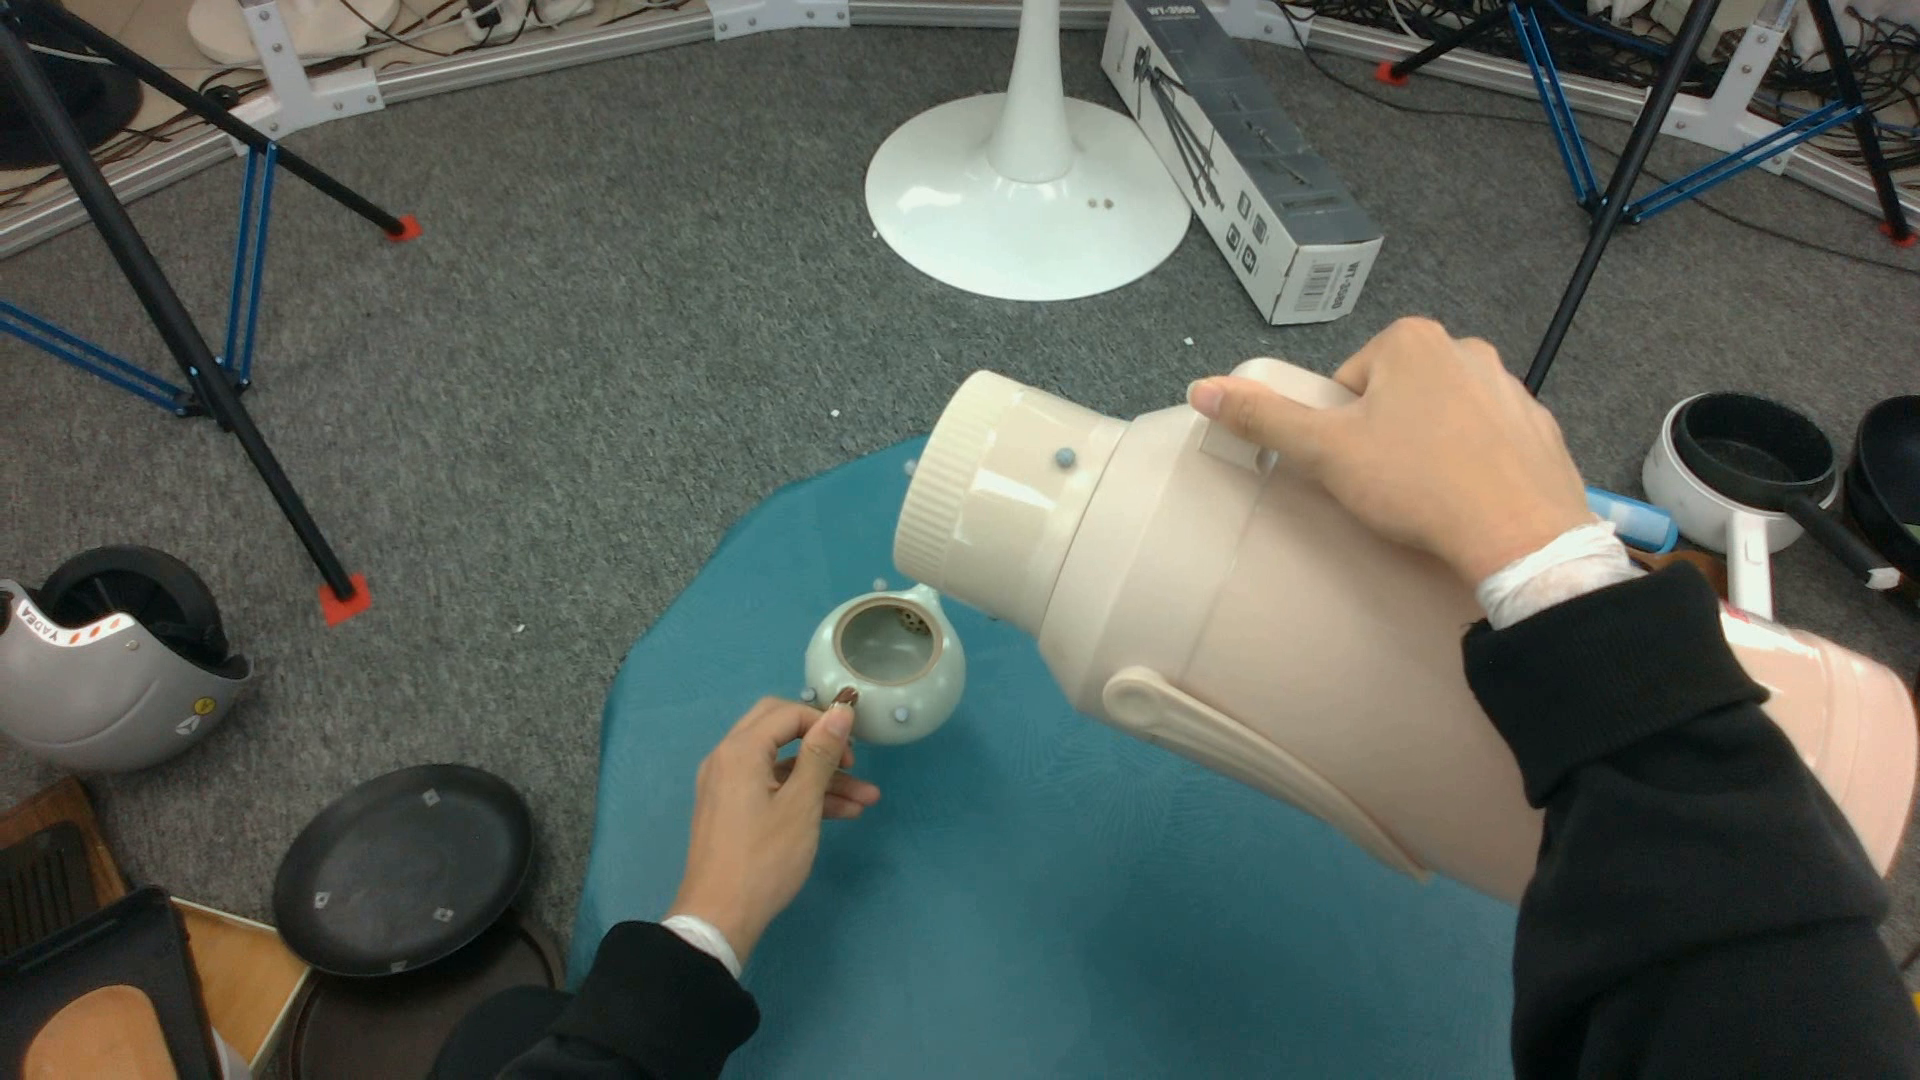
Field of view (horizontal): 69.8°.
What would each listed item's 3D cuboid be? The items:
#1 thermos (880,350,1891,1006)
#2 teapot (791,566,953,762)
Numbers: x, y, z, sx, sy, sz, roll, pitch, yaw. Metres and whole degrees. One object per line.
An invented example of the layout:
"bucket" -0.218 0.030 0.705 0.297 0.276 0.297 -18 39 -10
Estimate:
"thermos" 0.169 0.034 0.605 0.406 0.206 0.176 25 43 10
"teapot" -0.054 0.073 0.775 0.092 0.059 0.129 27 51 11
